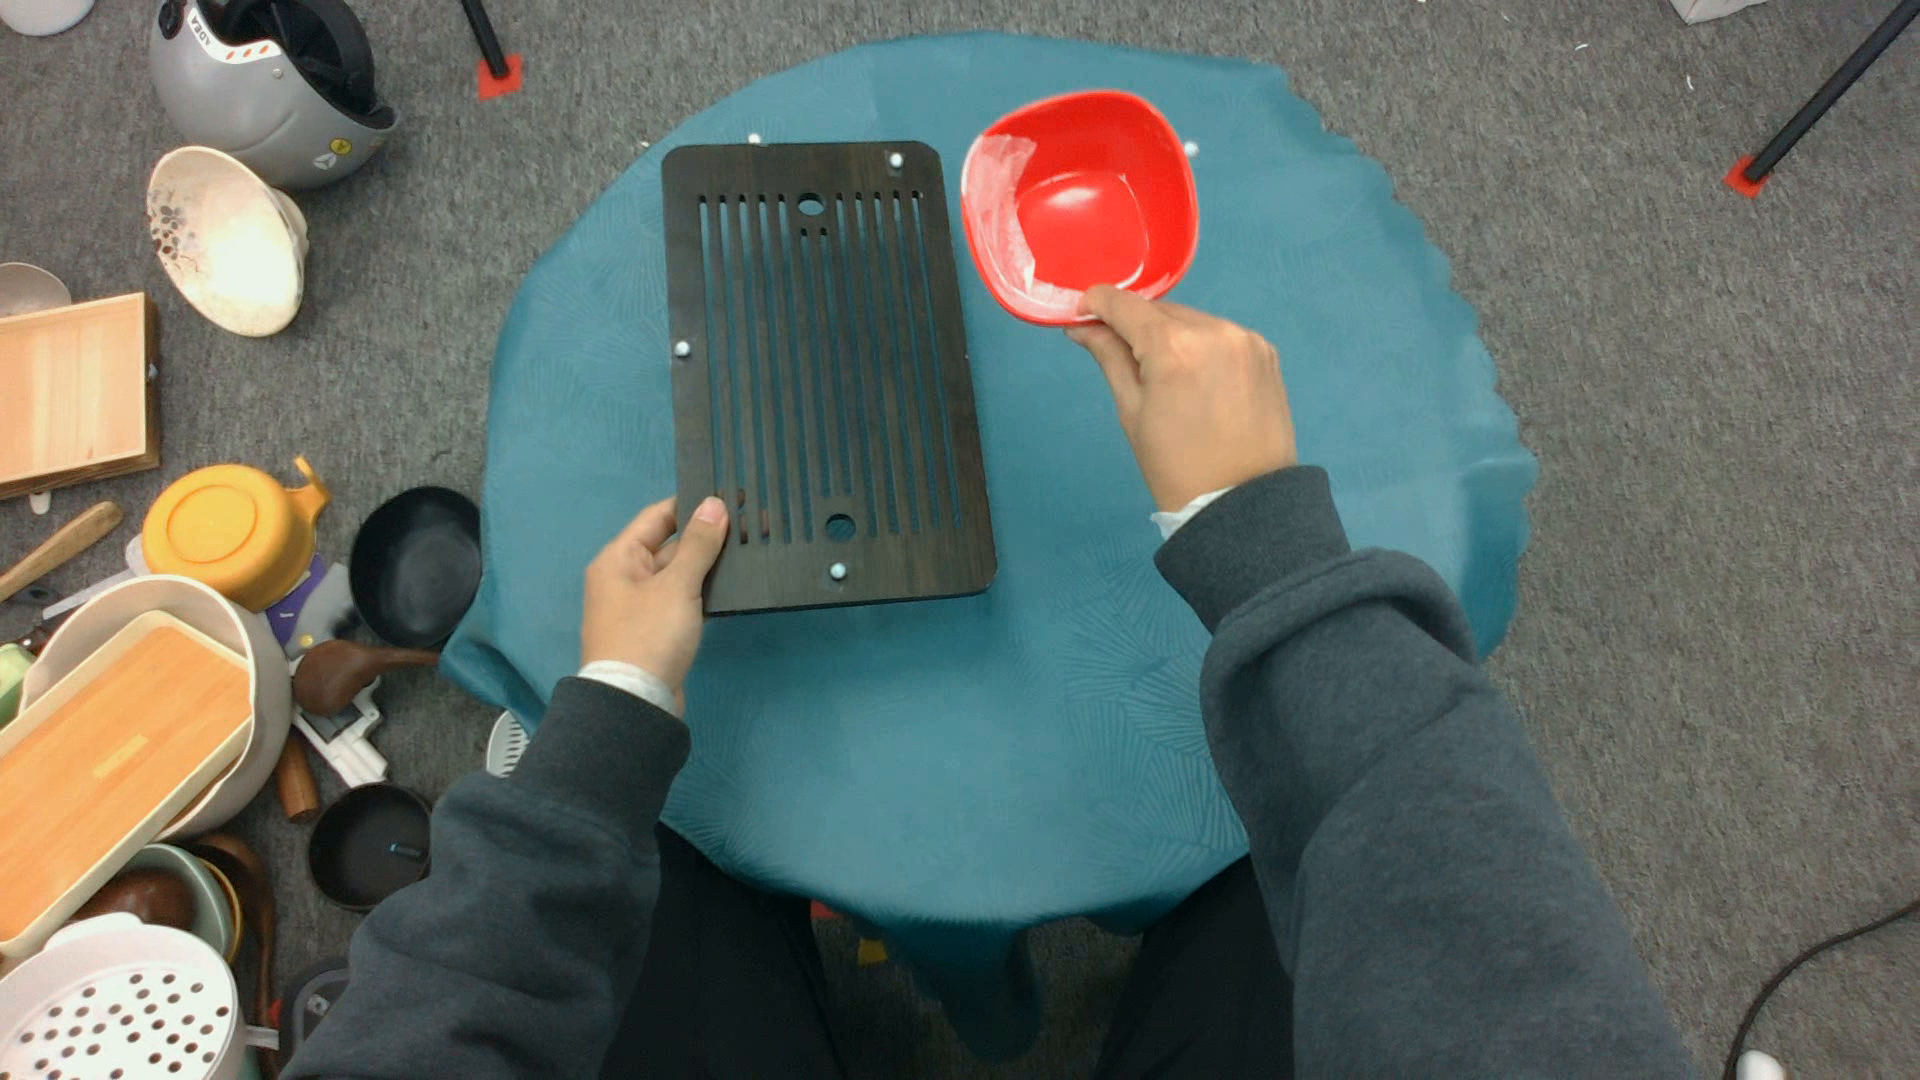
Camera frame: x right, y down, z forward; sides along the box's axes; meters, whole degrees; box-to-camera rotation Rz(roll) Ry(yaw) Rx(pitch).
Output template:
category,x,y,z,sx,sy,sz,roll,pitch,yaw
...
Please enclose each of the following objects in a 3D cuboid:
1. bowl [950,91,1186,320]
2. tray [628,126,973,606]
category,x,y,z,sx,sy,sz,roll,pitch,yaw
bowl,0.053,-0.158,0.683,0.119,0.051,0.119,-1,82,4
tray,-0.096,-0.110,0.788,0.170,0.018,0.307,-5,67,-9
